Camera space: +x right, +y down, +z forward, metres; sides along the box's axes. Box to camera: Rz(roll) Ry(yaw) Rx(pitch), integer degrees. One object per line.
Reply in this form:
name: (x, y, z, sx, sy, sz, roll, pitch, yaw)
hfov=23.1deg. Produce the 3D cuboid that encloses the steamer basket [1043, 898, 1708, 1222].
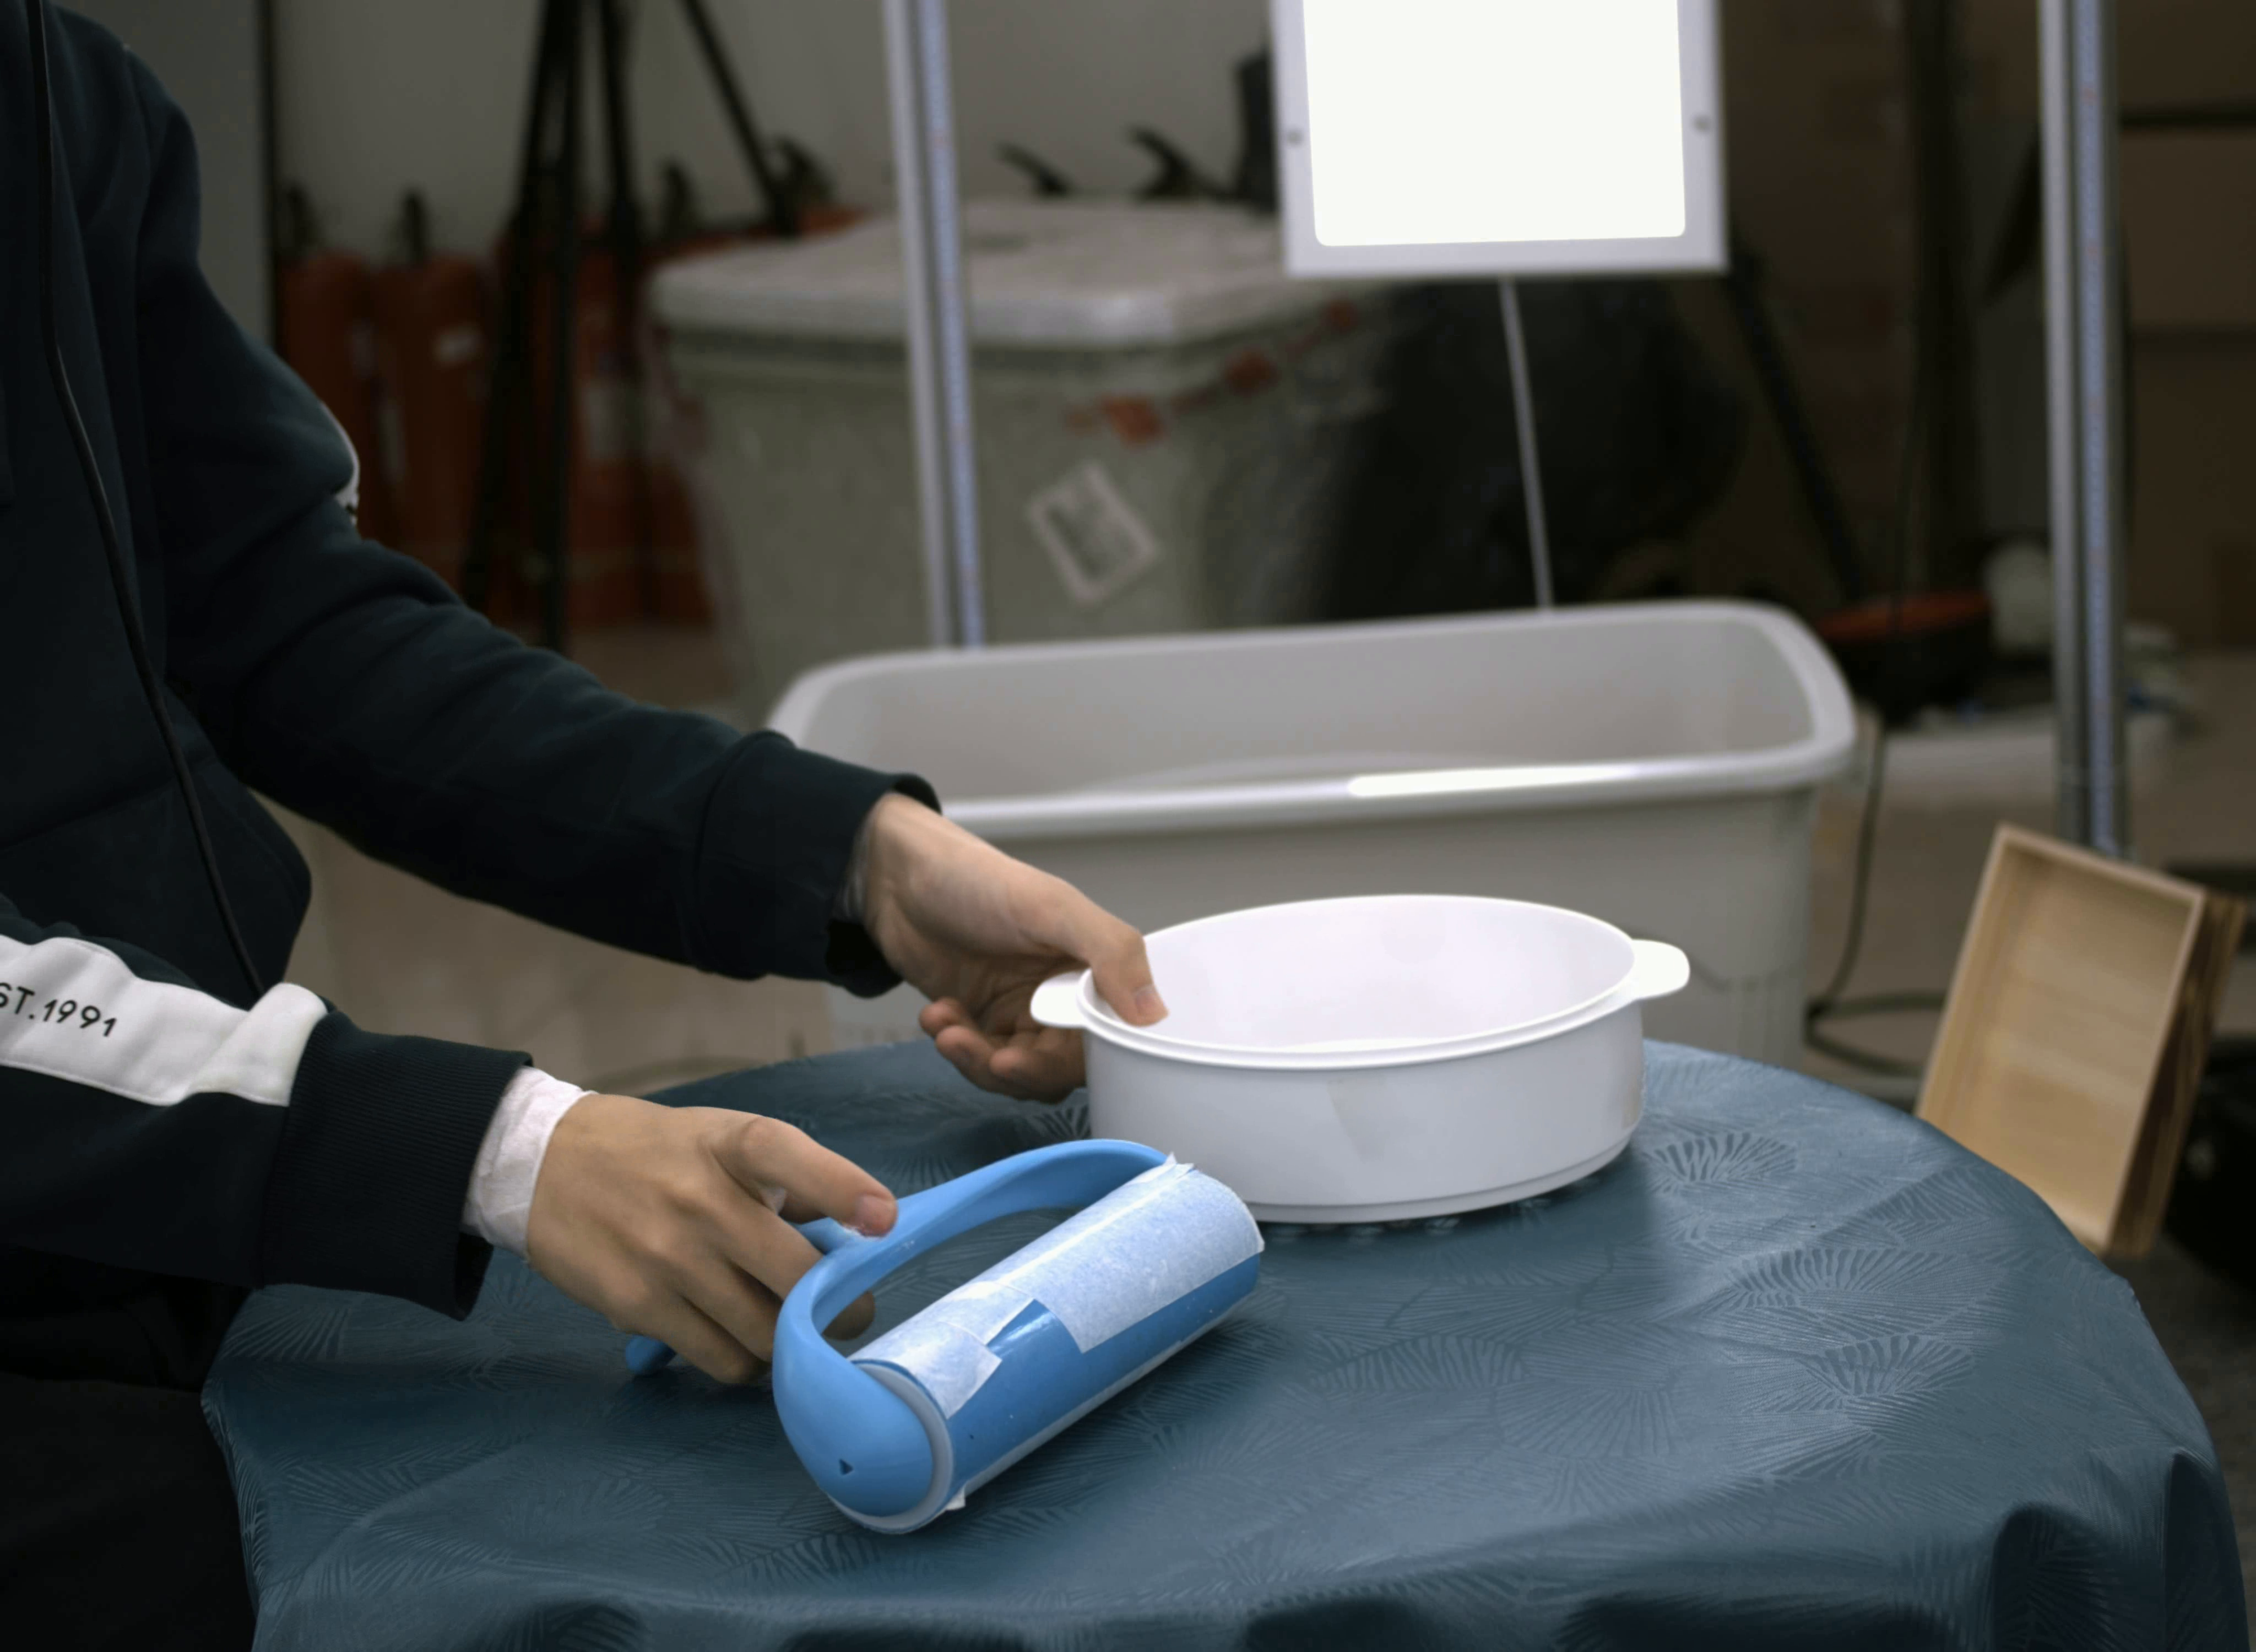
steamer basket: (0.088, 0.081, 1.904, 0.231, 0.069, 0.200, -4, 13, 7)

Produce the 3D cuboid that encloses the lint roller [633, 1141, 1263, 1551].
lint roller: (-0.076, 0.154, 1.698, 0.183, 0.068, 0.224, 3, 19, 25)
